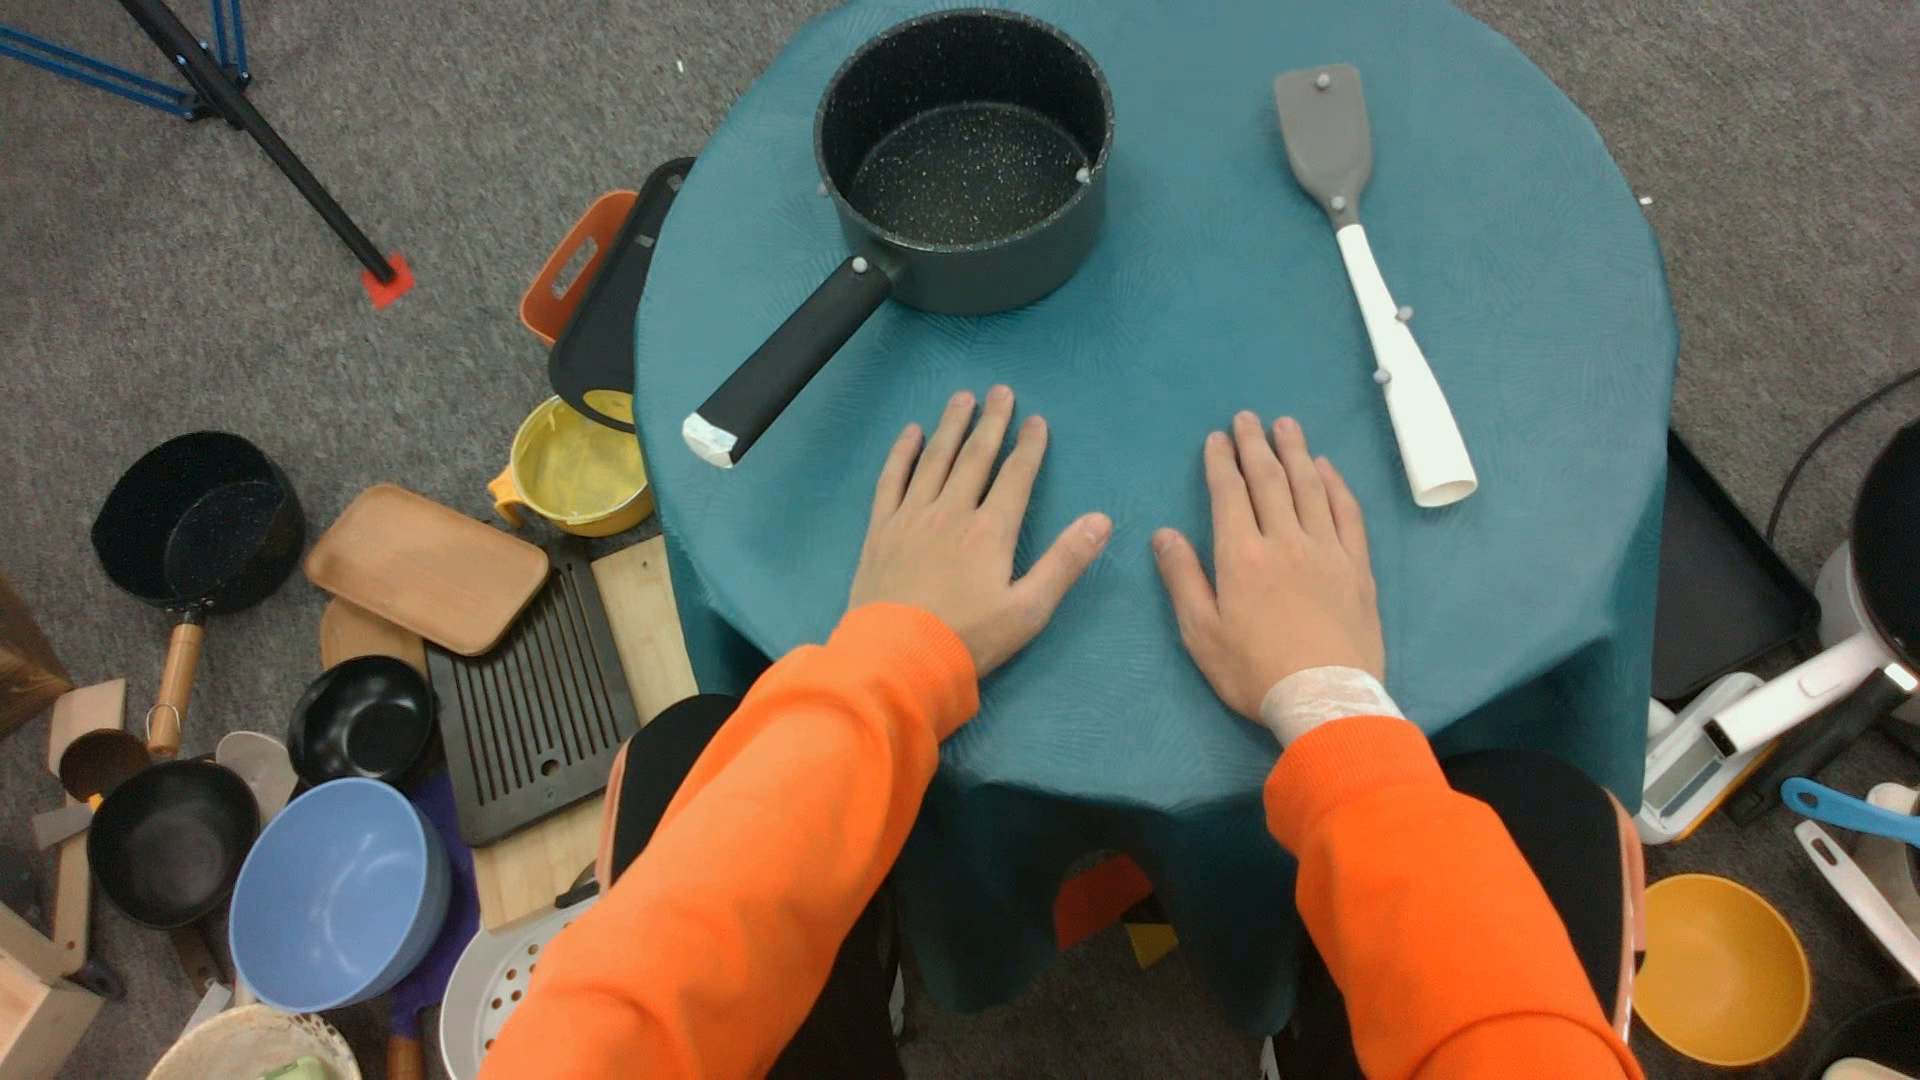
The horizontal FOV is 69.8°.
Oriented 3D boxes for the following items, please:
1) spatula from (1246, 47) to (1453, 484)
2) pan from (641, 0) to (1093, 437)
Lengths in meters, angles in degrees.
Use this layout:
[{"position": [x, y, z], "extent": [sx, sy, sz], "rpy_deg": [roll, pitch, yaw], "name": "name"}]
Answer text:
[{"position": [0.223, -0.166, 0.790], "extent": [0.058, 0.032, 0.288], "rpy_deg": [-12, 66, 3], "name": "spatula"}, {"position": [-0.054, -0.169, 0.783], "extent": [0.172, 0.086, 0.330], "rpy_deg": [31, 70, 17], "name": "pan"}]
